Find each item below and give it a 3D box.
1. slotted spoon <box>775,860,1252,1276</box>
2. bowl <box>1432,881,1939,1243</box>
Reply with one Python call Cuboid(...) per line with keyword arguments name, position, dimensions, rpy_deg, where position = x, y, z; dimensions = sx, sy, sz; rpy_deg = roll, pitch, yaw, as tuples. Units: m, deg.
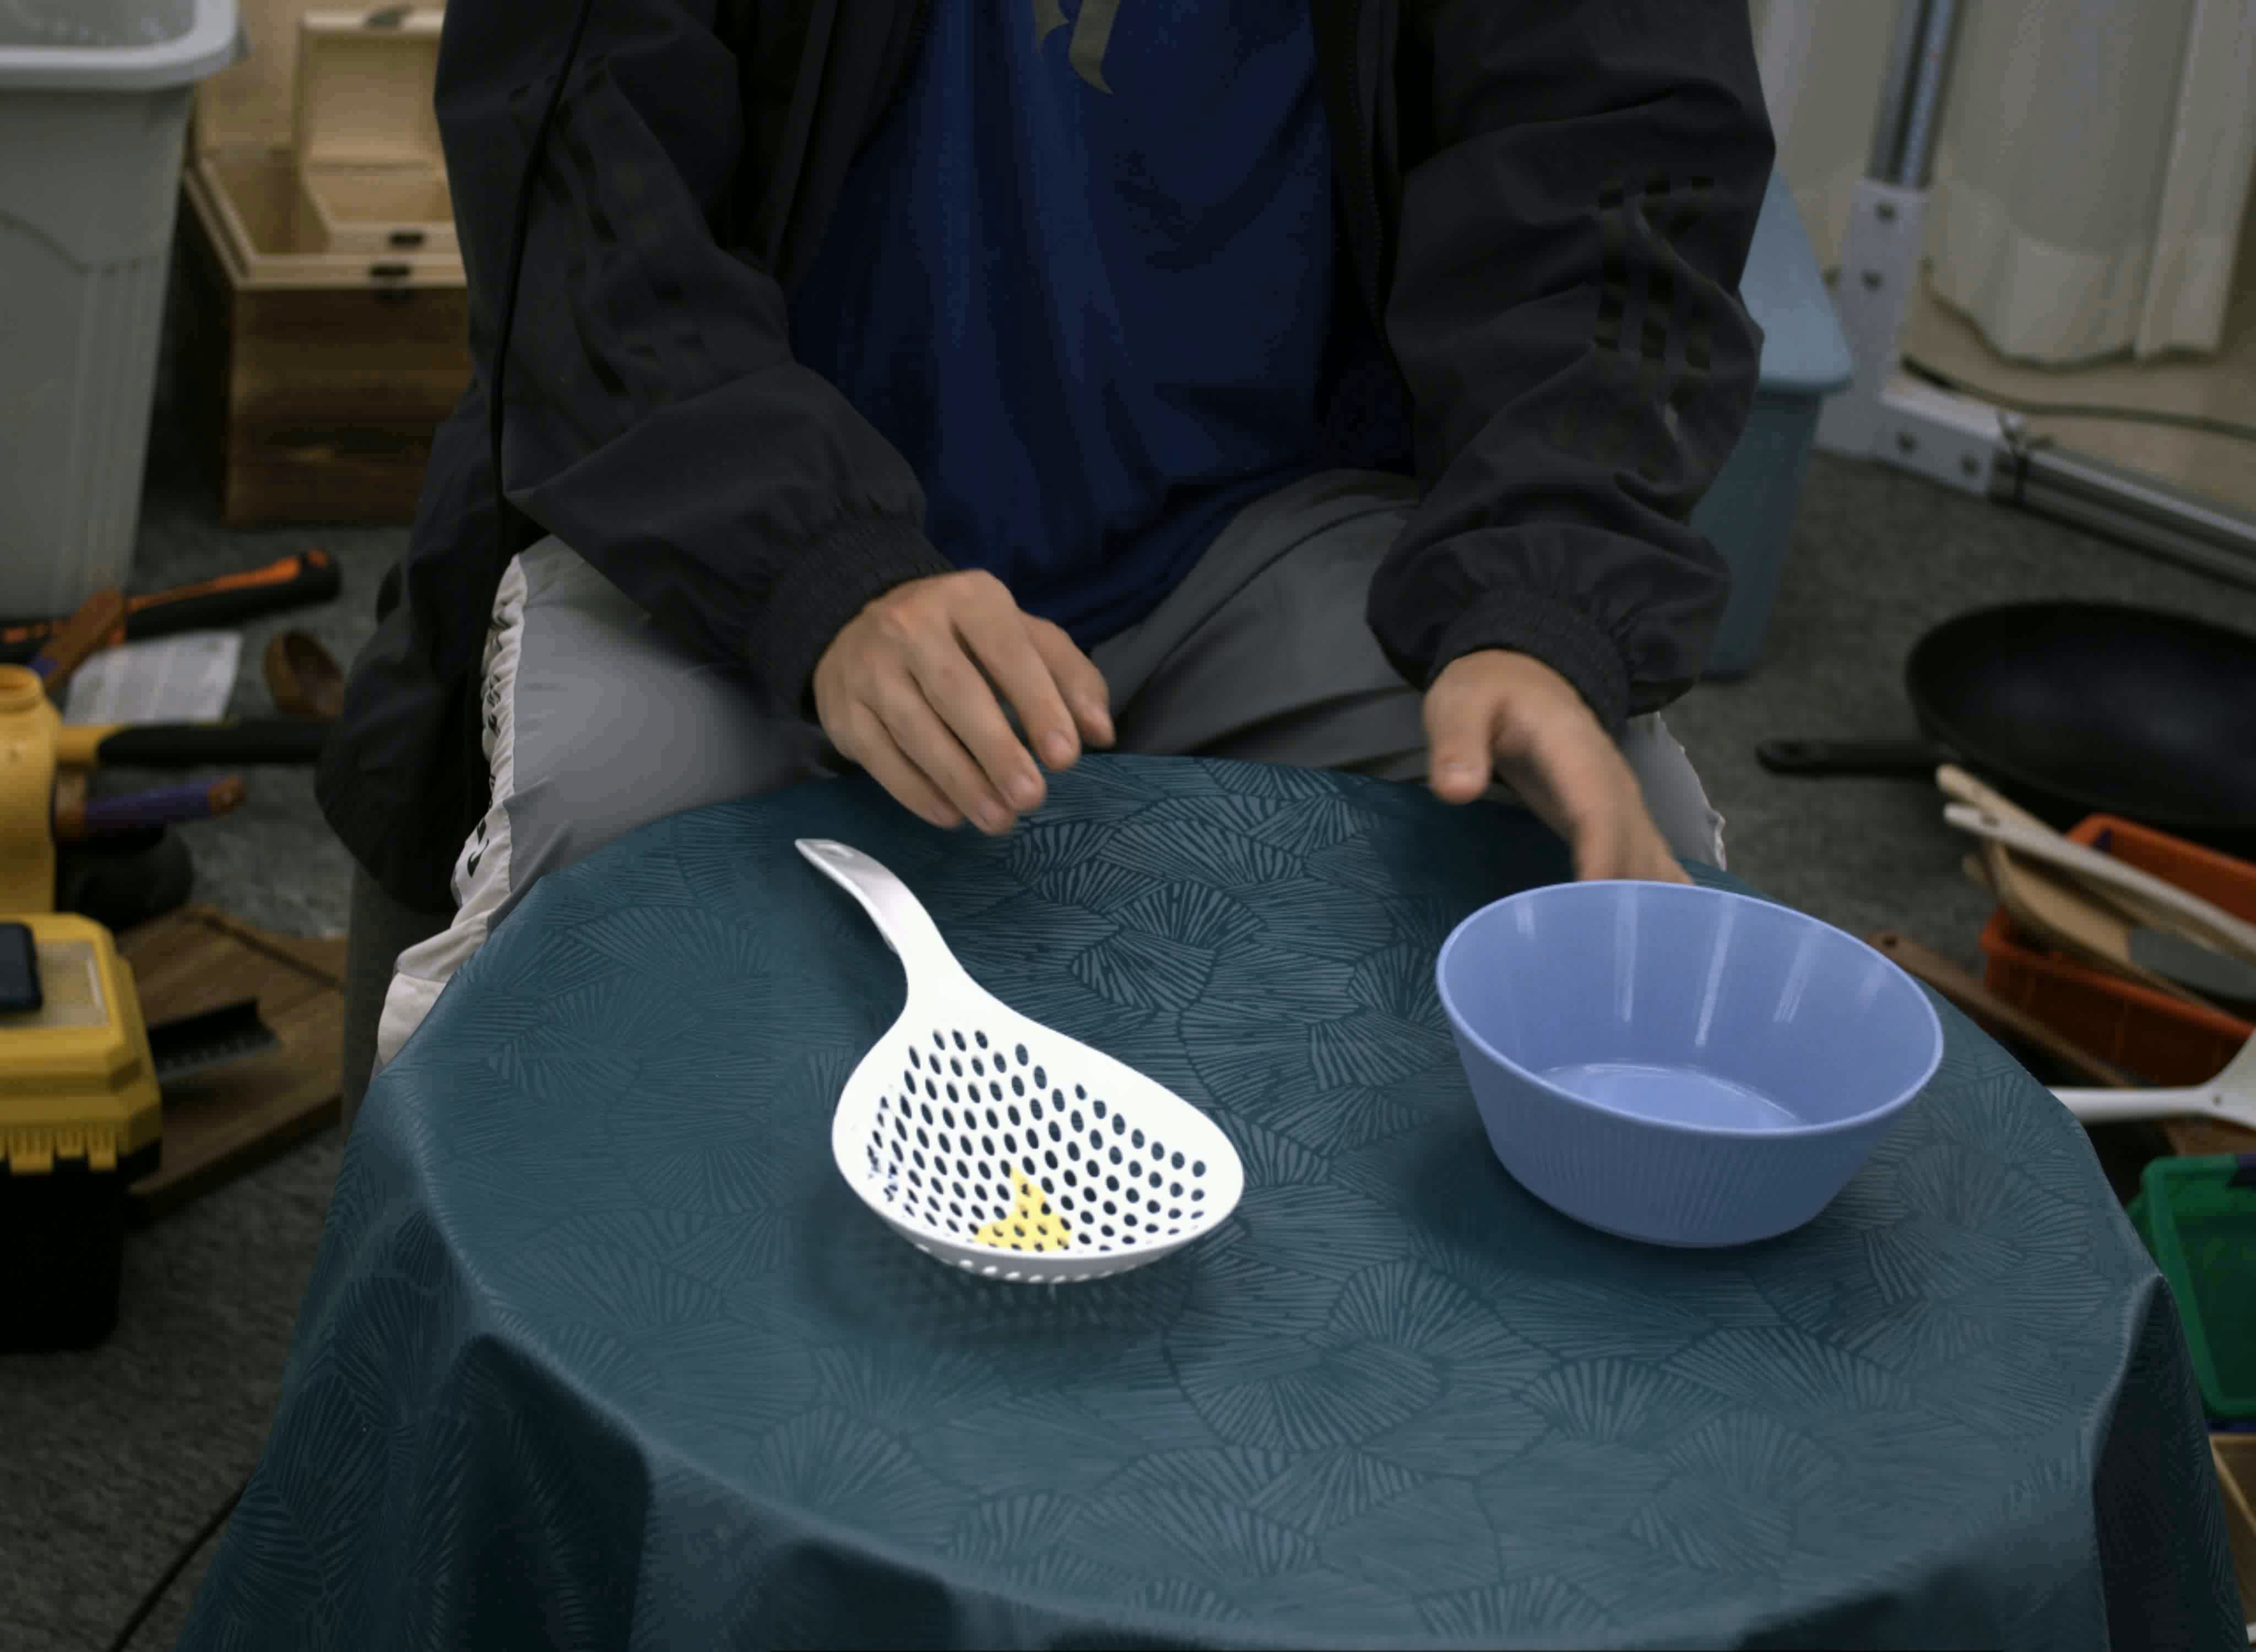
Cuboid(name="slotted spoon", position=(-0.064, 0.071, 1.846), dimensions=(0.136, 0.050, 0.351), rpy_deg=(-7, 29, -17))
Cuboid(name="bowl", position=(0.187, 0.087, 1.840), dimensions=(0.175, 0.070, 0.177), rpy_deg=(5, 26, -3))
